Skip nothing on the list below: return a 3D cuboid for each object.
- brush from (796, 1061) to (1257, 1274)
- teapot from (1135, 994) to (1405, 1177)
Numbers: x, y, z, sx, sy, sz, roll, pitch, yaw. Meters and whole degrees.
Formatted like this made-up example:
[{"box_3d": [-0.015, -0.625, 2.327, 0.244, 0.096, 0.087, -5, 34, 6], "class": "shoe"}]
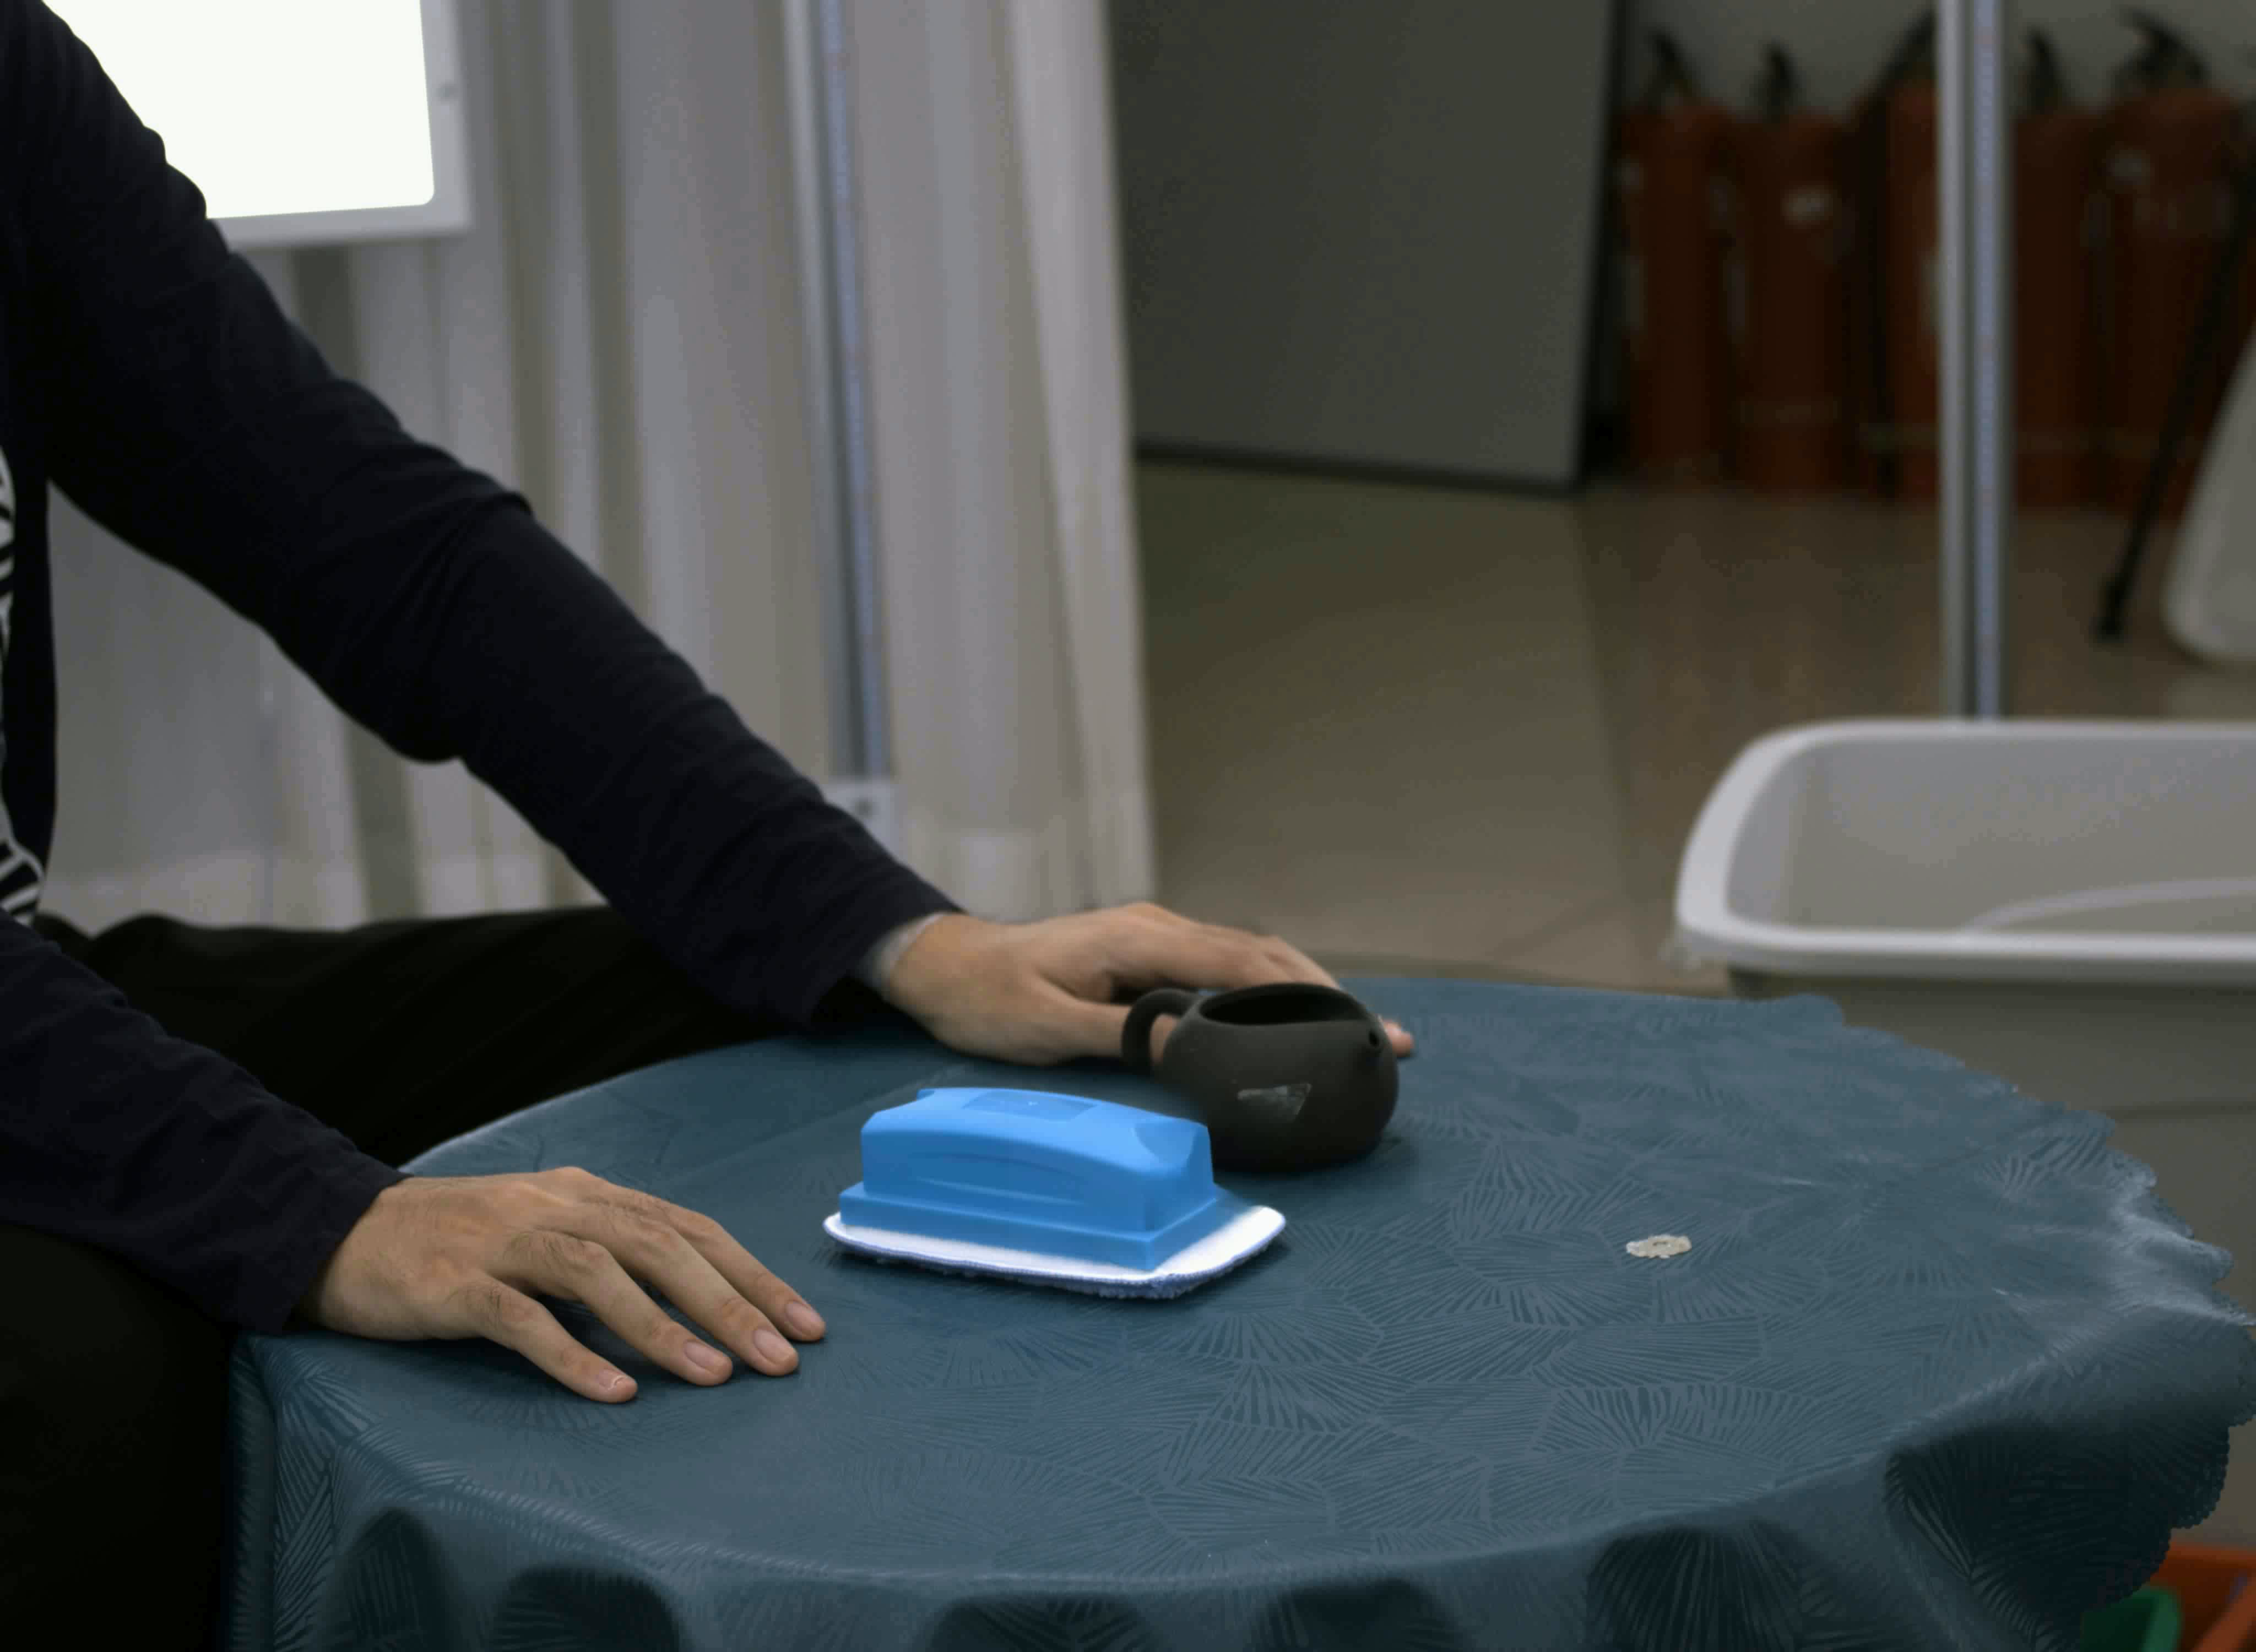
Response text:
[{"box_3d": [-0.032, 0.107, 1.716, 0.145, 0.056, 0.082, 8, 14, 35], "class": "brush"}, {"box_3d": [0.044, 0.084, 1.812, 0.081, 0.053, 0.115, -11, 17, -42], "class": "teapot"}]
